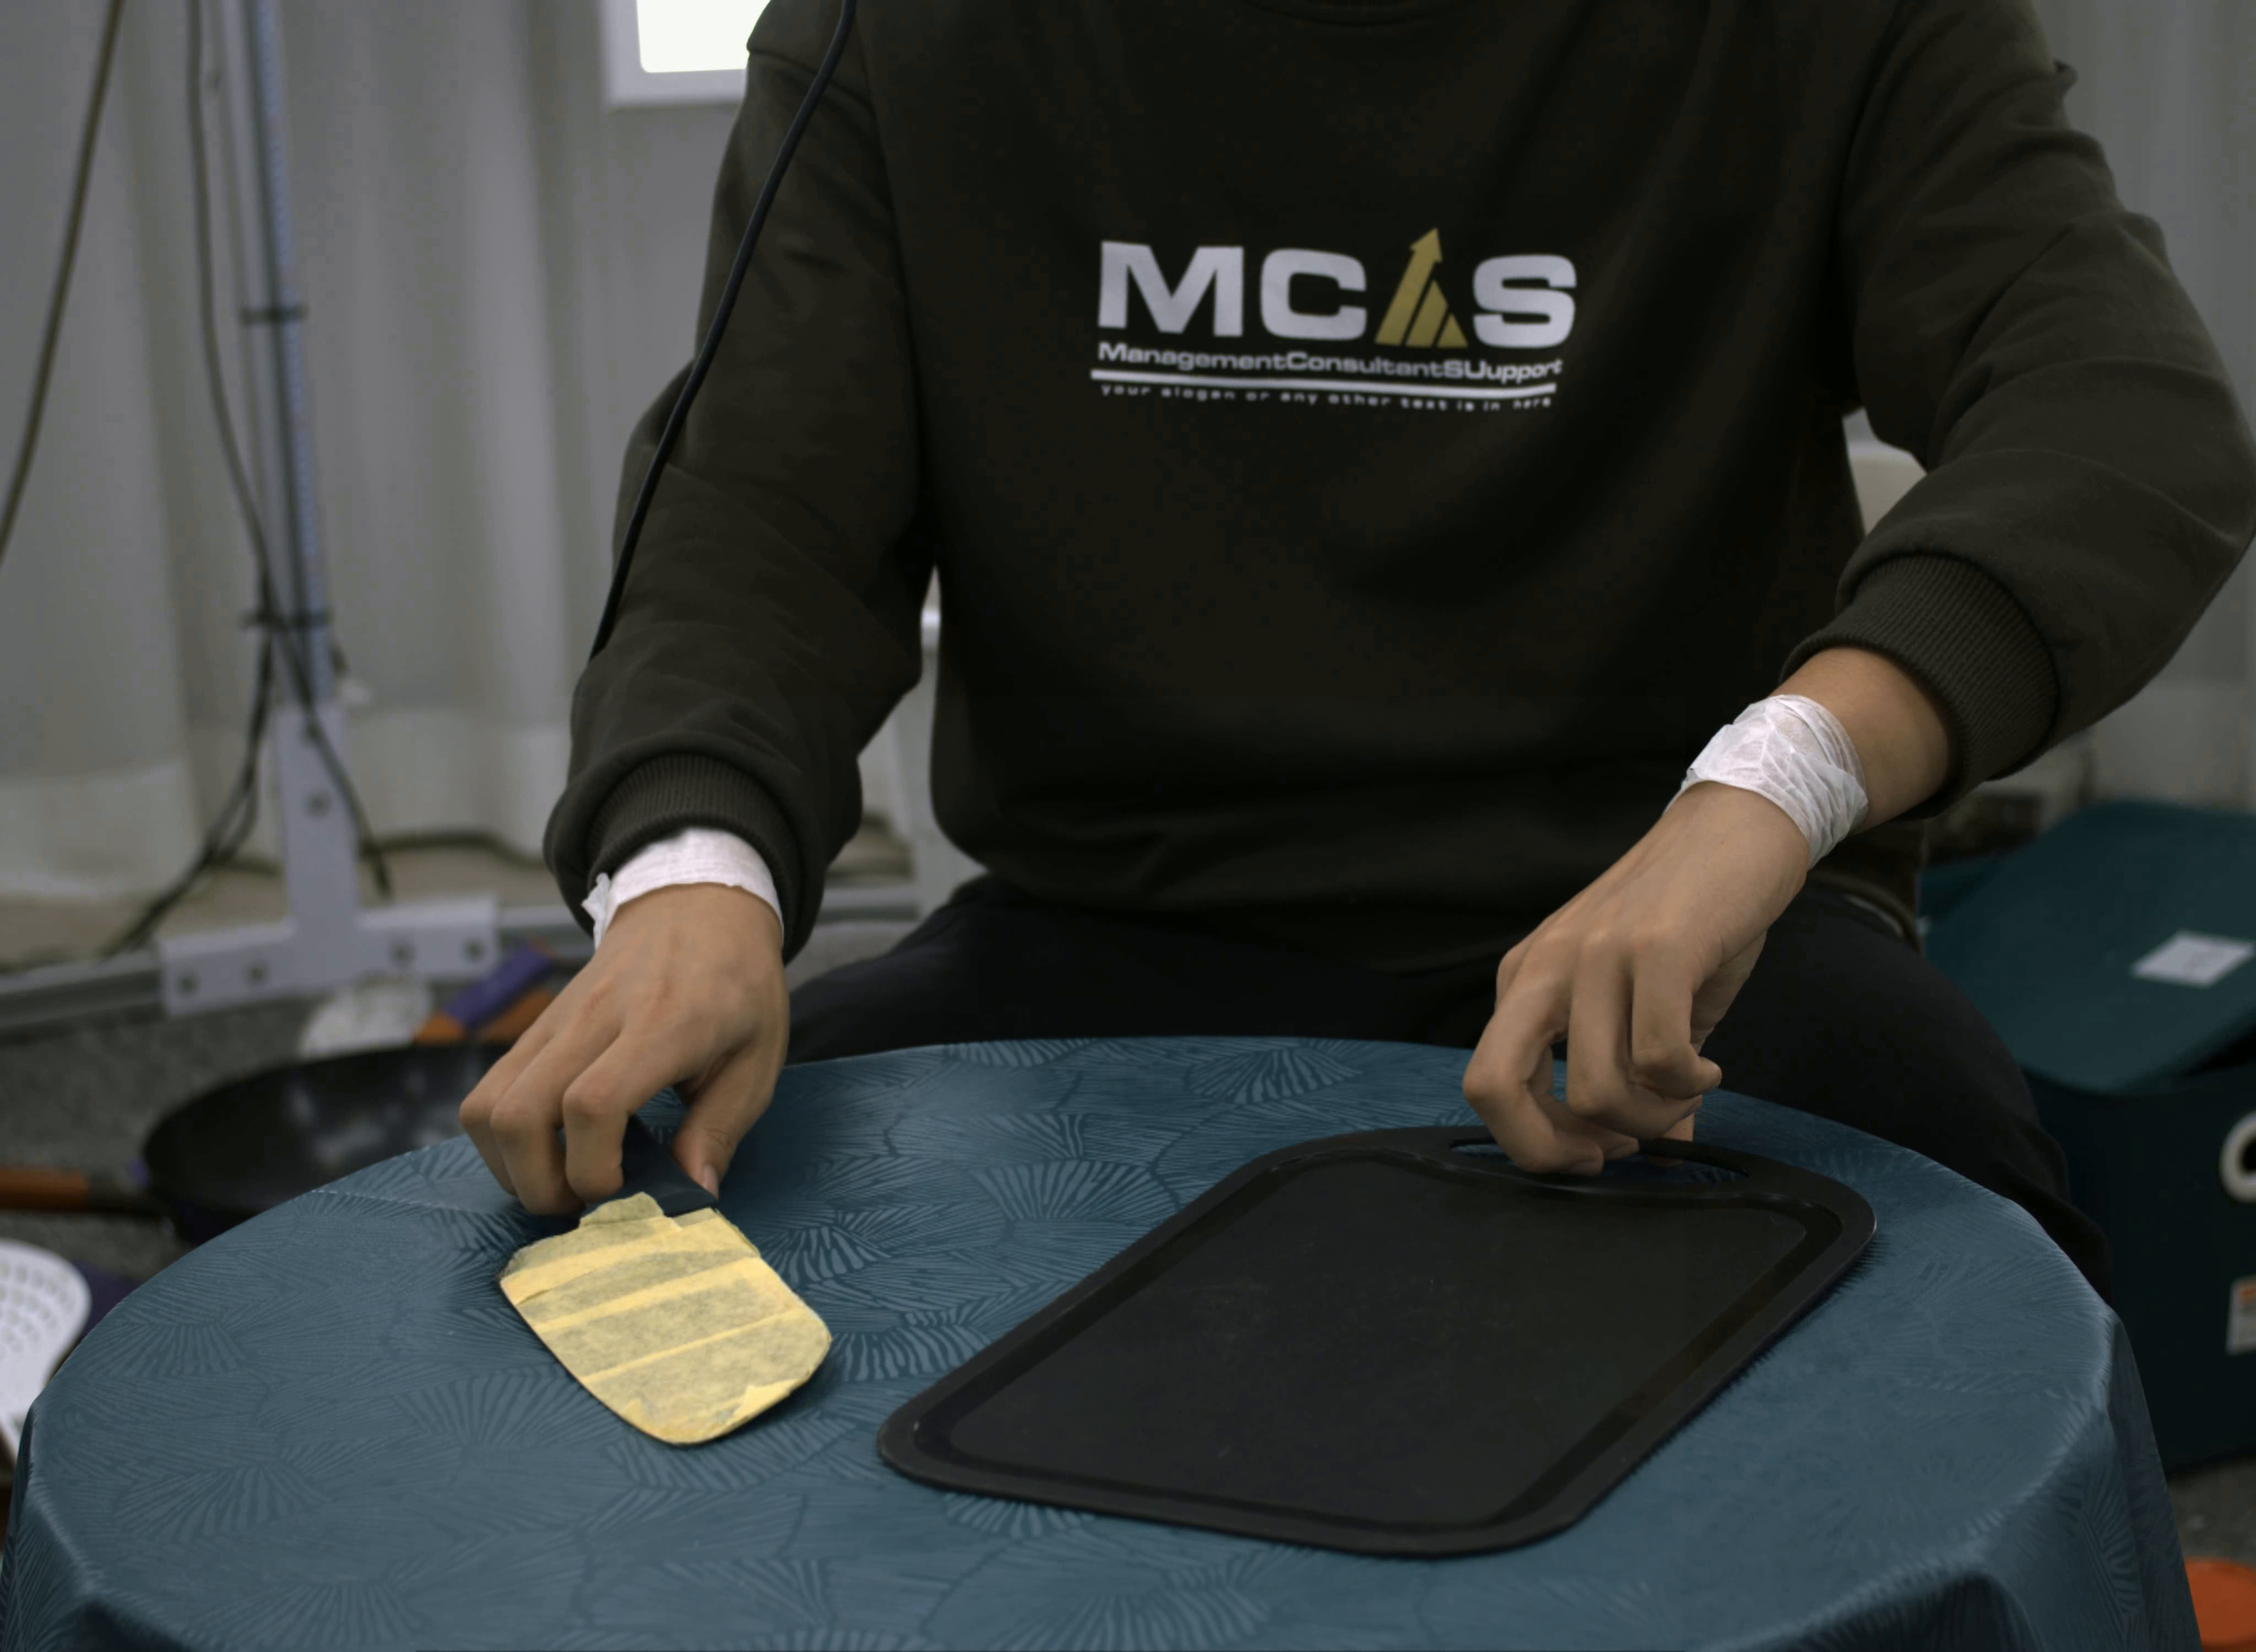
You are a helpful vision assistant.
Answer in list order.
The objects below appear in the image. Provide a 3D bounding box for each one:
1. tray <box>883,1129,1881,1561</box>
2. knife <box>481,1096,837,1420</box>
[{"bbox_3d":[0.082,0.140,1.584,0.211,0.010,0.326,5,18,28],"label":"tray"},{"bbox_3d":[-0.153,0.131,1.656,0.081,0.027,0.292,-12,17,-16],"label":"knife"}]
